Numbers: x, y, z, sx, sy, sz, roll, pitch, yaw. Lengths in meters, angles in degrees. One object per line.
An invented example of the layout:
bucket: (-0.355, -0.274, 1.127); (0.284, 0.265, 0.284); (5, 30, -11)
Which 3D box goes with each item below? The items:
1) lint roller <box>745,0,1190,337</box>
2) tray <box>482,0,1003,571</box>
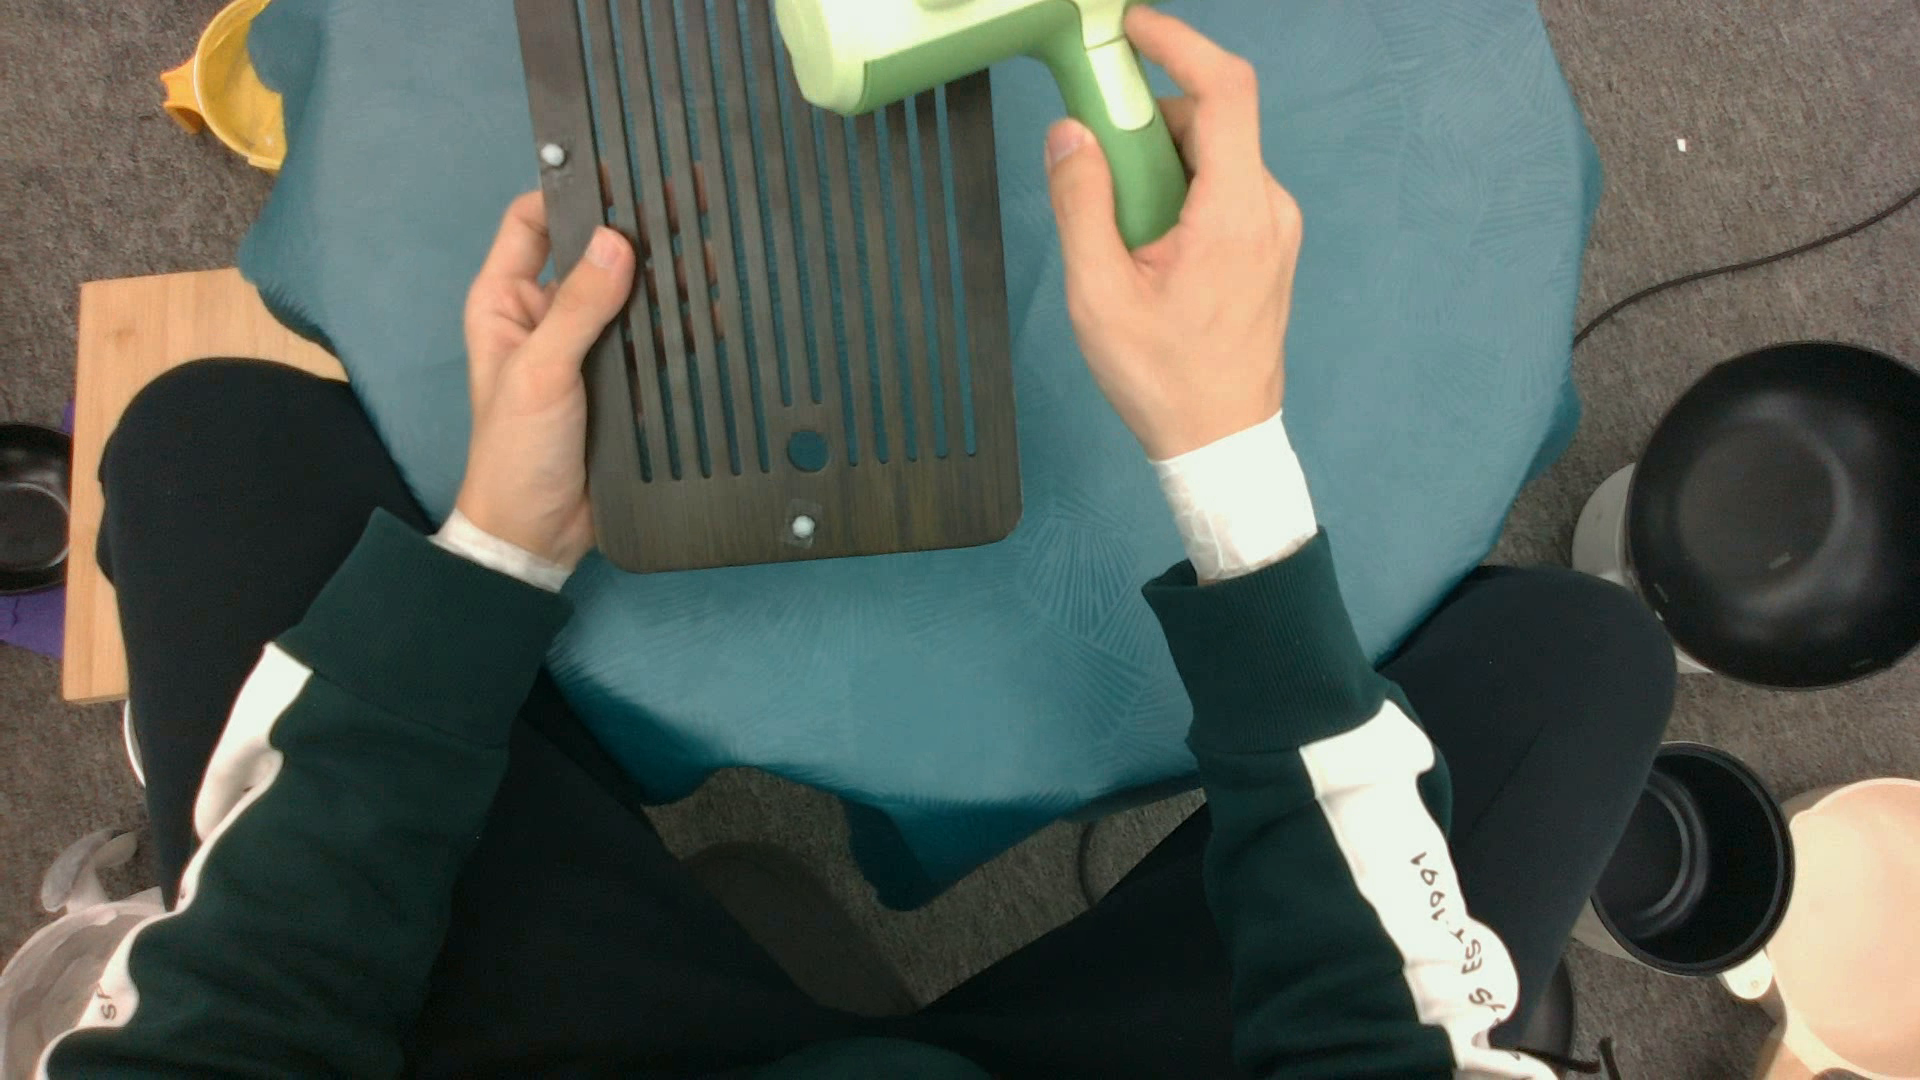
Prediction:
lint roller: (0.047, -0.157, 0.457); (0.199, 0.082, 0.183); (-28, 98, -19)
tray: (-0.082, -0.144, 0.517); (0.170, 0.018, 0.305); (-6, 103, 0)
